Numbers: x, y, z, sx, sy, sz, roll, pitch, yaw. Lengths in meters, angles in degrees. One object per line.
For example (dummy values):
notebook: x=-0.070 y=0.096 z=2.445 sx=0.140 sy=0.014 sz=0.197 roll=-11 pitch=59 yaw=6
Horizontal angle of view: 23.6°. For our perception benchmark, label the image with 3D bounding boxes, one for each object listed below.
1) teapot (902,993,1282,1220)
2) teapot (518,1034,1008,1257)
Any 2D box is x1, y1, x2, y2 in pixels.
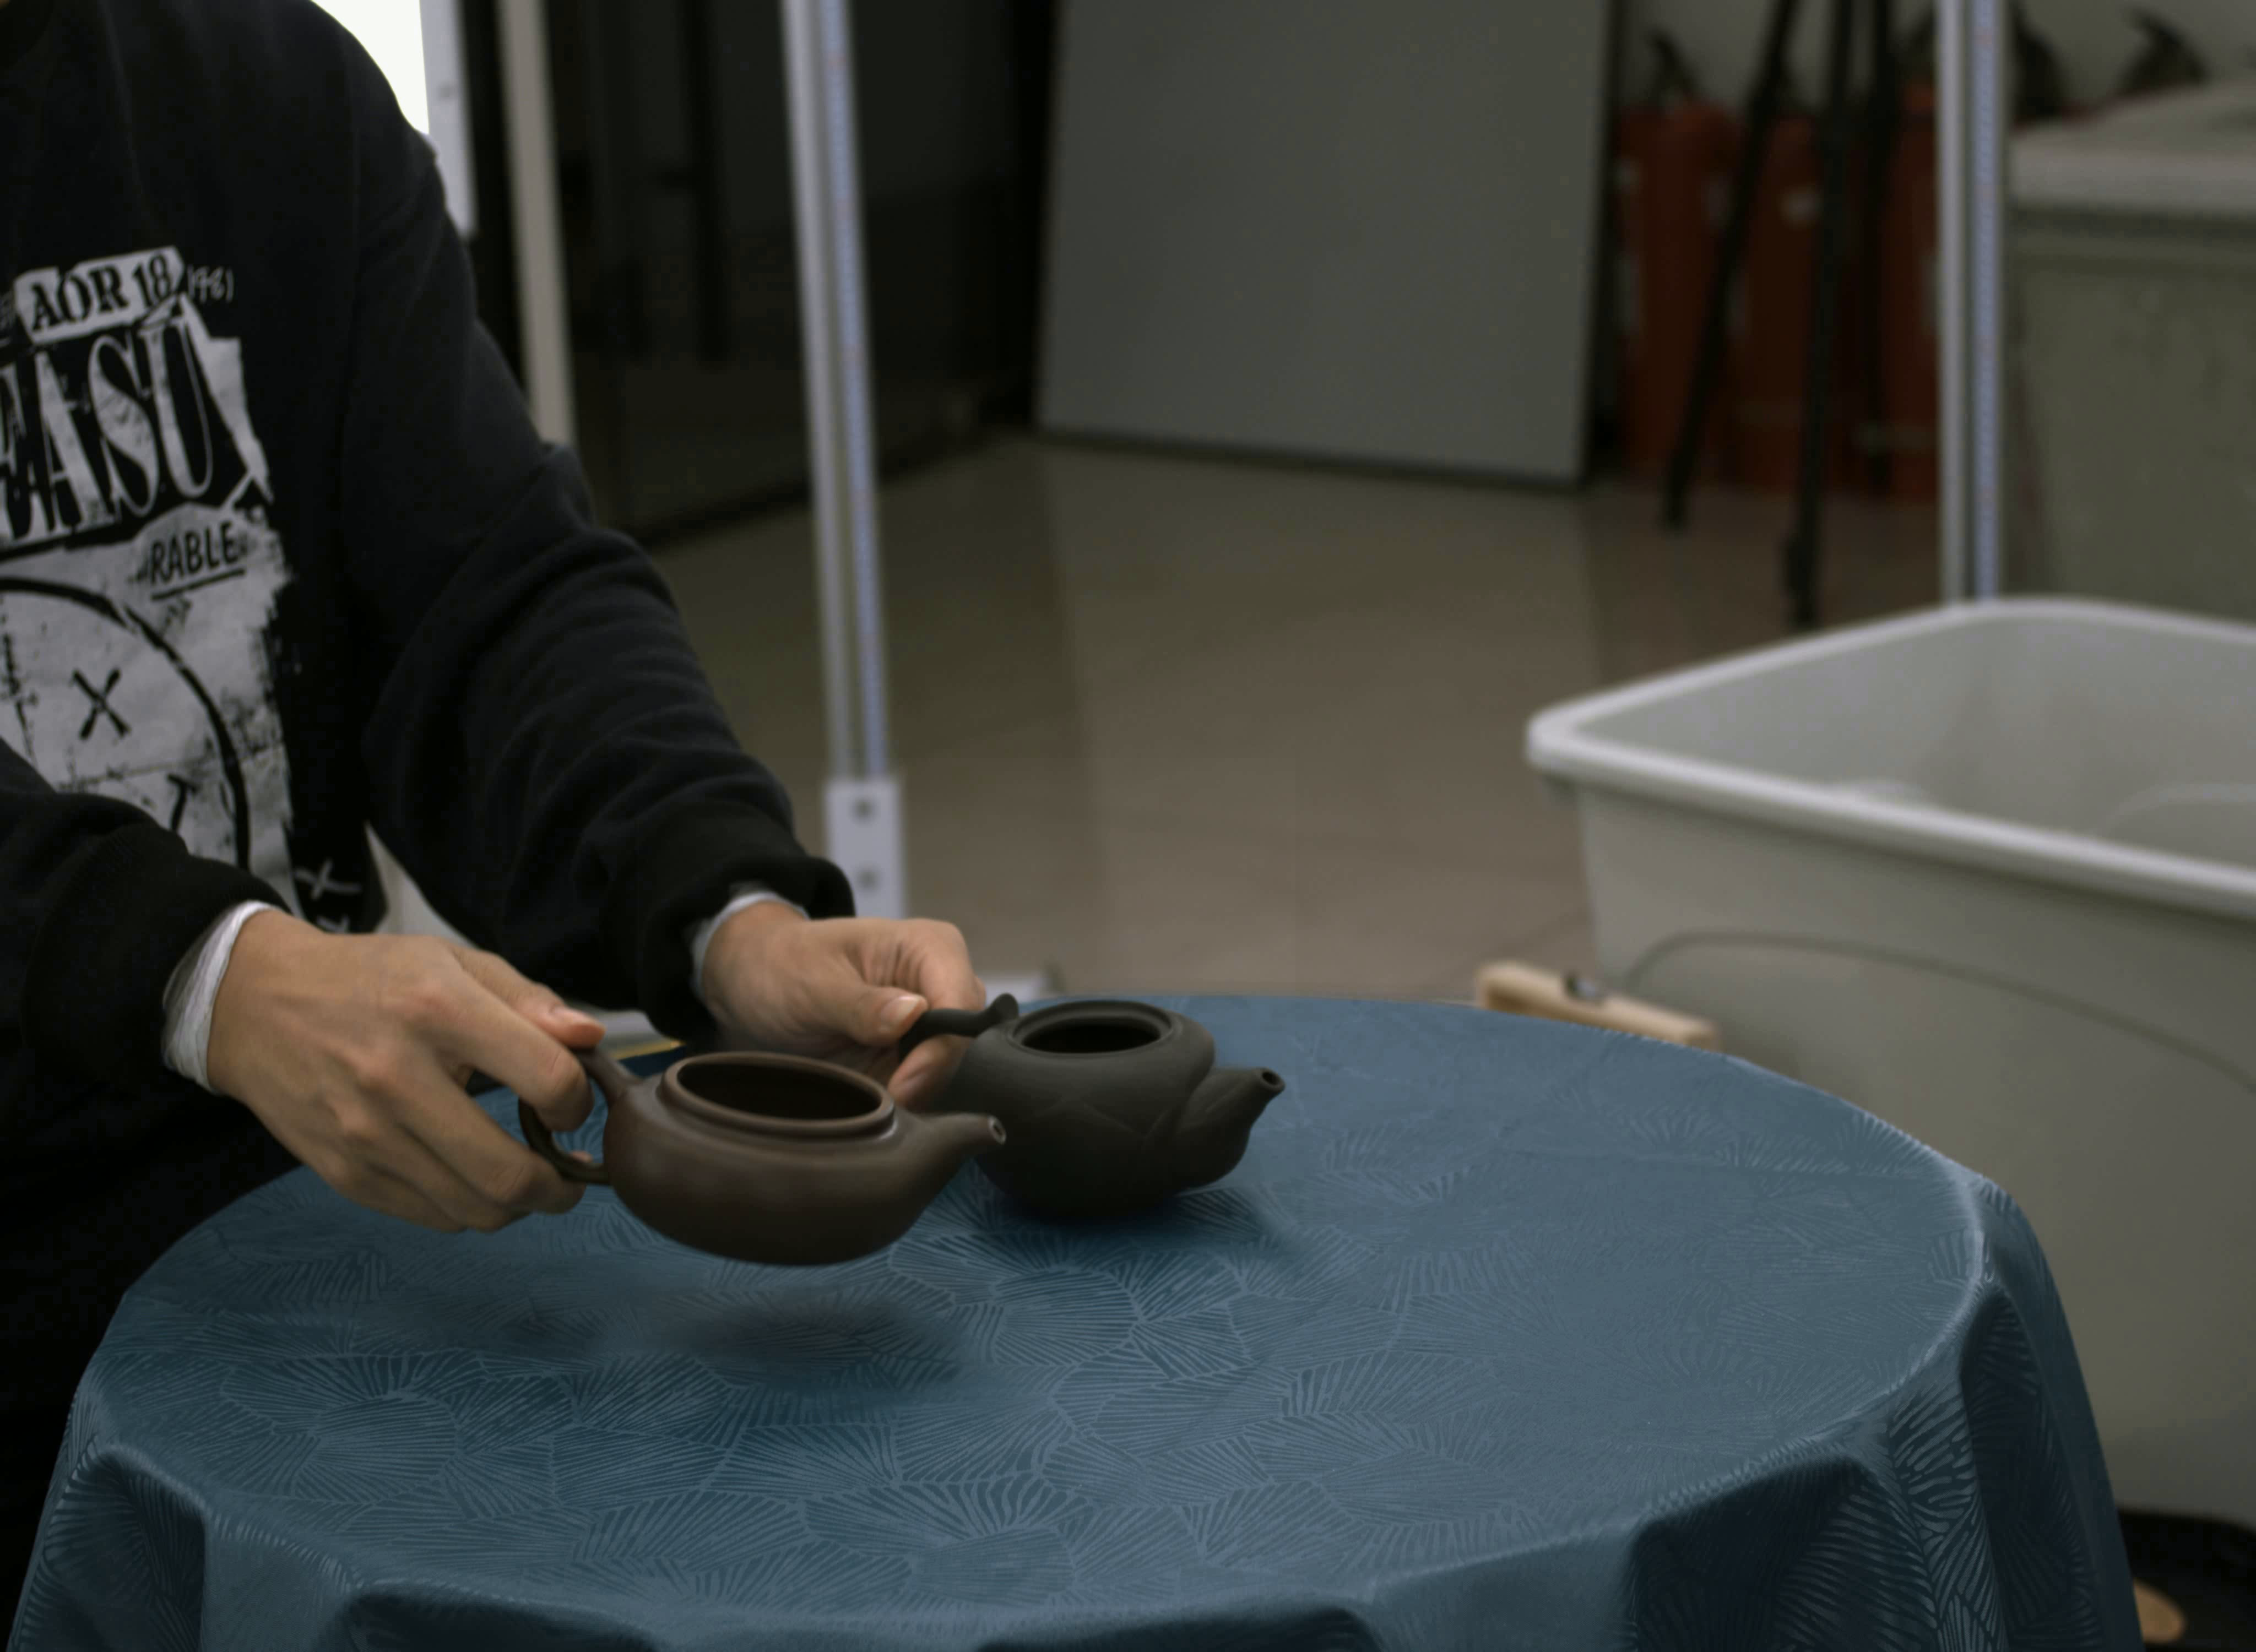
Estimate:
teapot: x=-0.013 y=0.091 z=1.765 sx=0.155 sy=0.065 sz=0.090 roll=9 pitch=18 yaw=36
teapot: x=-0.113 y=0.096 z=1.650 sx=0.152 sy=0.054 sz=0.102 roll=10 pitch=12 yaw=7
